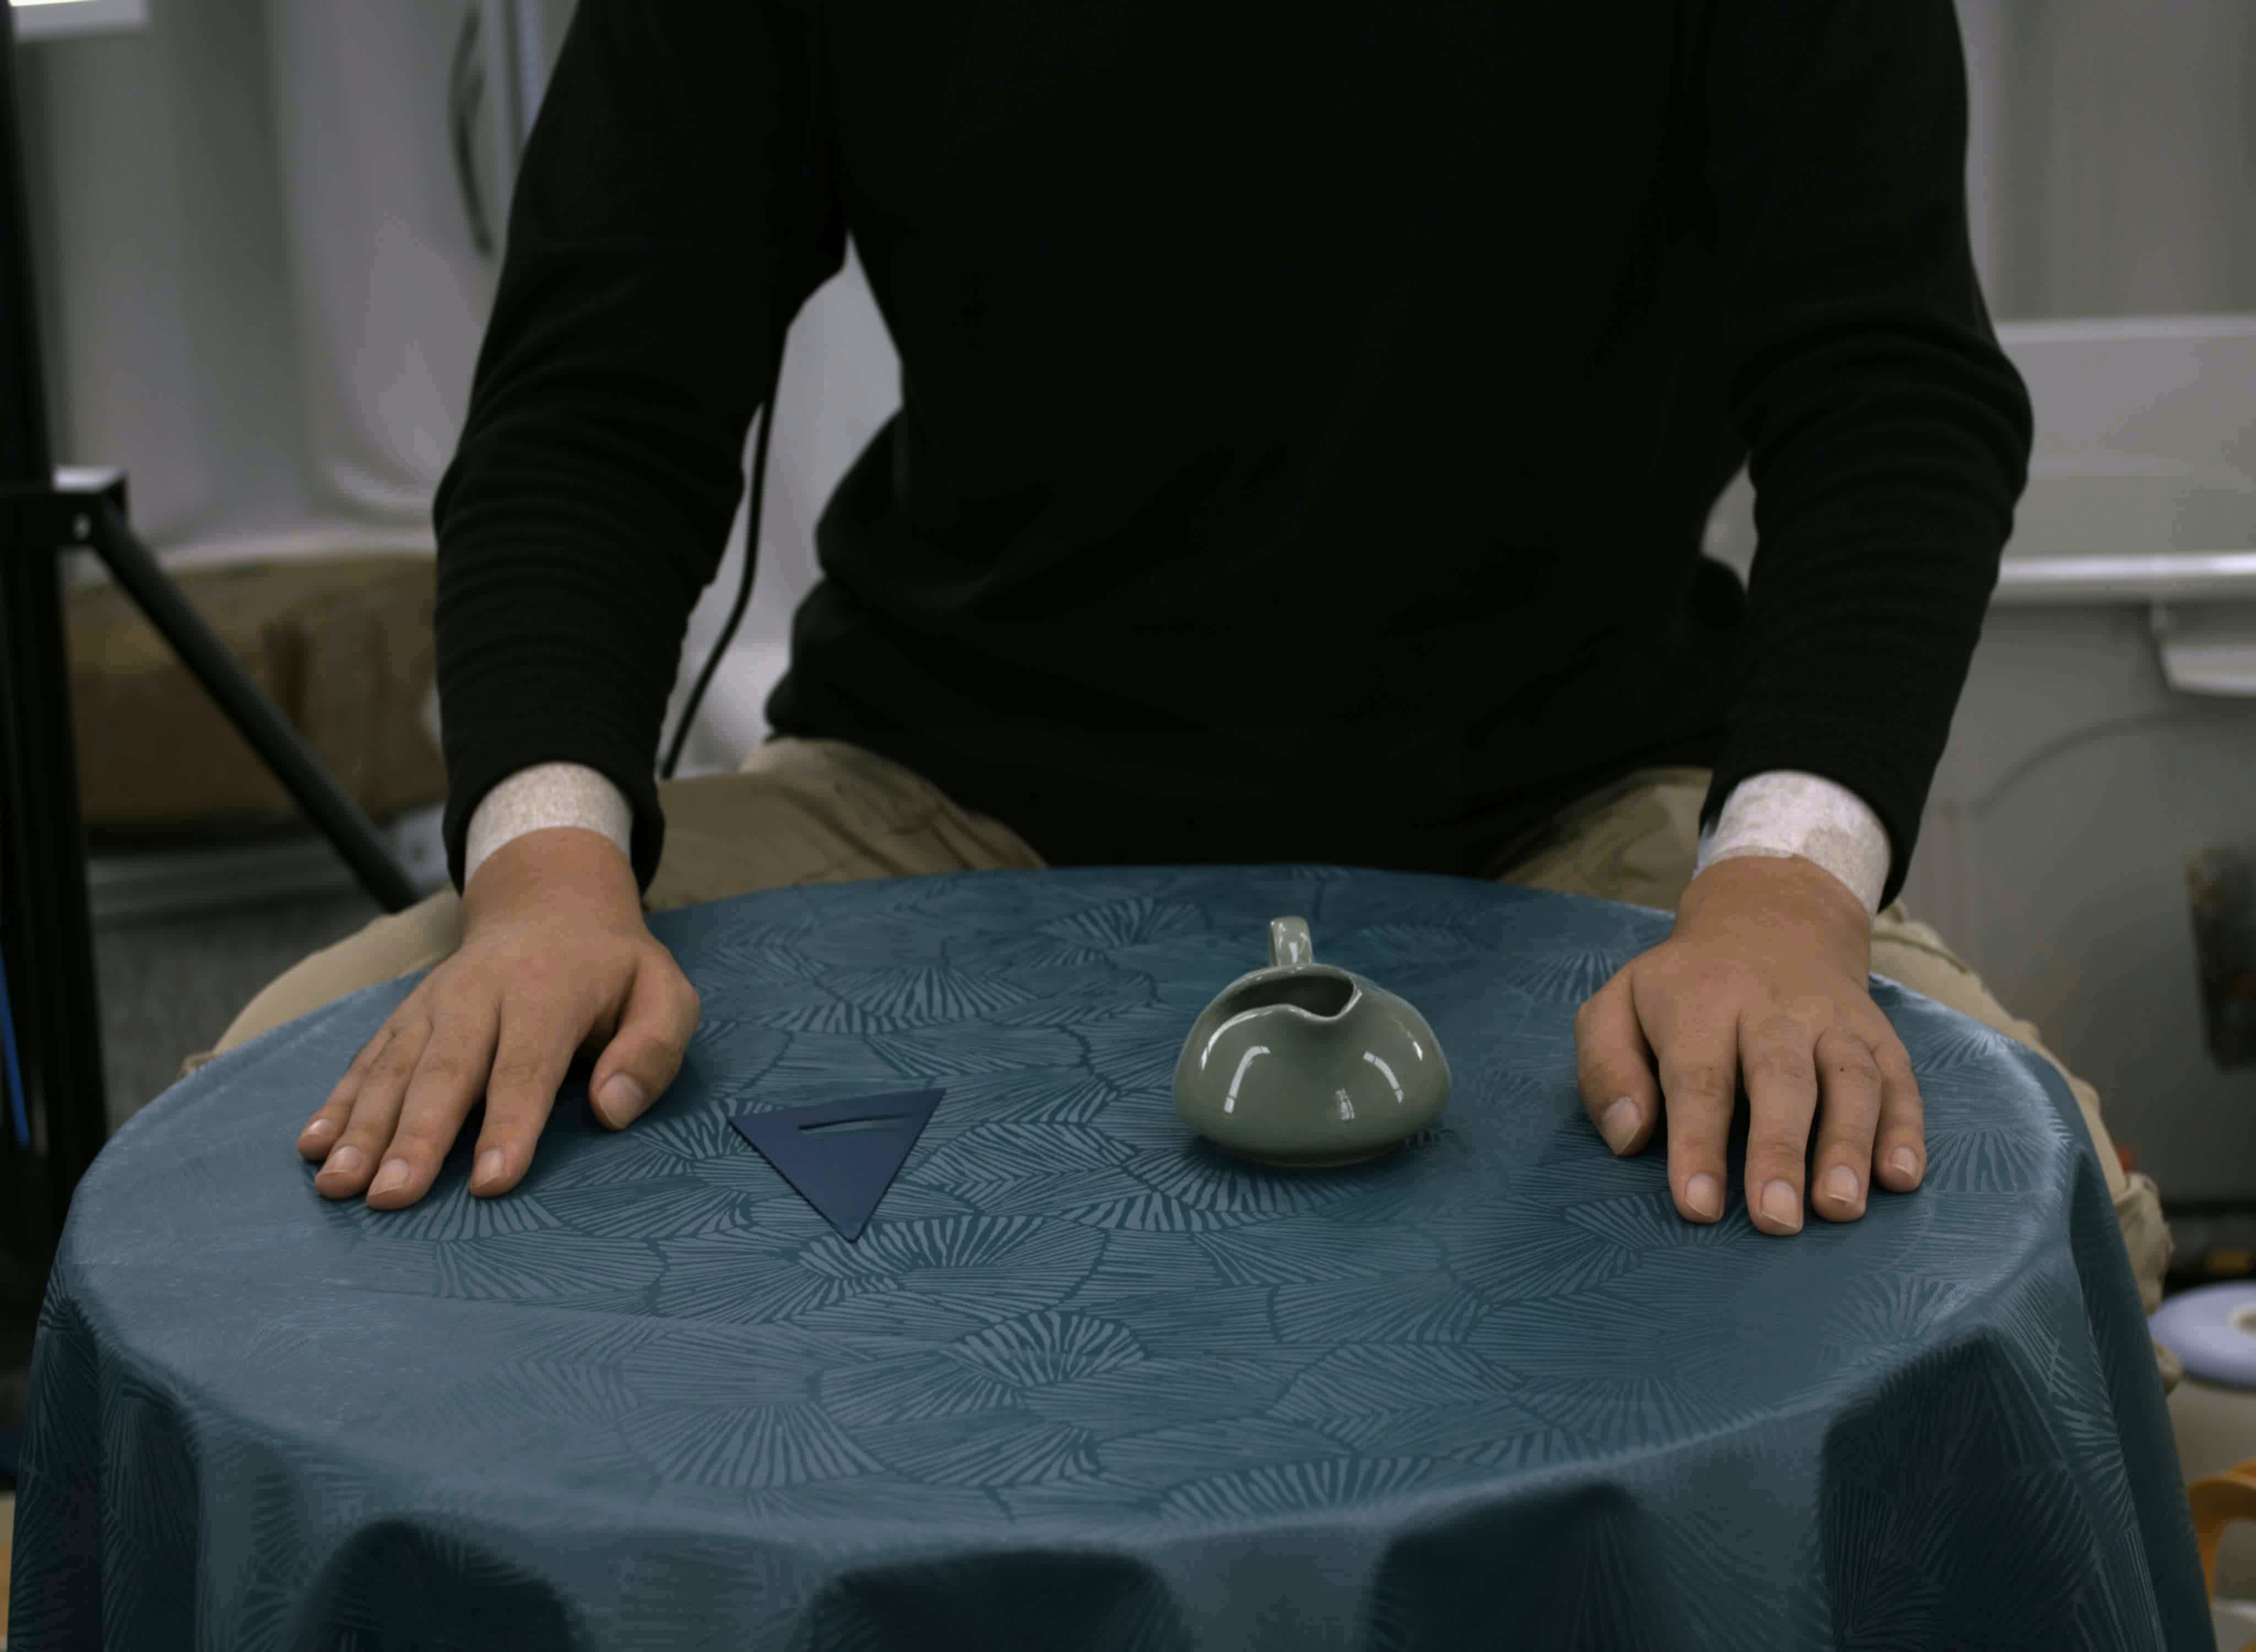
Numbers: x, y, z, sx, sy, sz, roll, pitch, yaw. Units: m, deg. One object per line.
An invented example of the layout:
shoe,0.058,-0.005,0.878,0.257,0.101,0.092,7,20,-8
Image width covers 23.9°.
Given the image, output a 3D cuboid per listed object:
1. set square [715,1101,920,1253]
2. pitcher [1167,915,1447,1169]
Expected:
set square,-0.104,0.102,1.589,0.061,0.006,0.131,2,17,13
pitcher,0.053,0.066,1.595,0.083,0.056,0.113,-1,15,-5
